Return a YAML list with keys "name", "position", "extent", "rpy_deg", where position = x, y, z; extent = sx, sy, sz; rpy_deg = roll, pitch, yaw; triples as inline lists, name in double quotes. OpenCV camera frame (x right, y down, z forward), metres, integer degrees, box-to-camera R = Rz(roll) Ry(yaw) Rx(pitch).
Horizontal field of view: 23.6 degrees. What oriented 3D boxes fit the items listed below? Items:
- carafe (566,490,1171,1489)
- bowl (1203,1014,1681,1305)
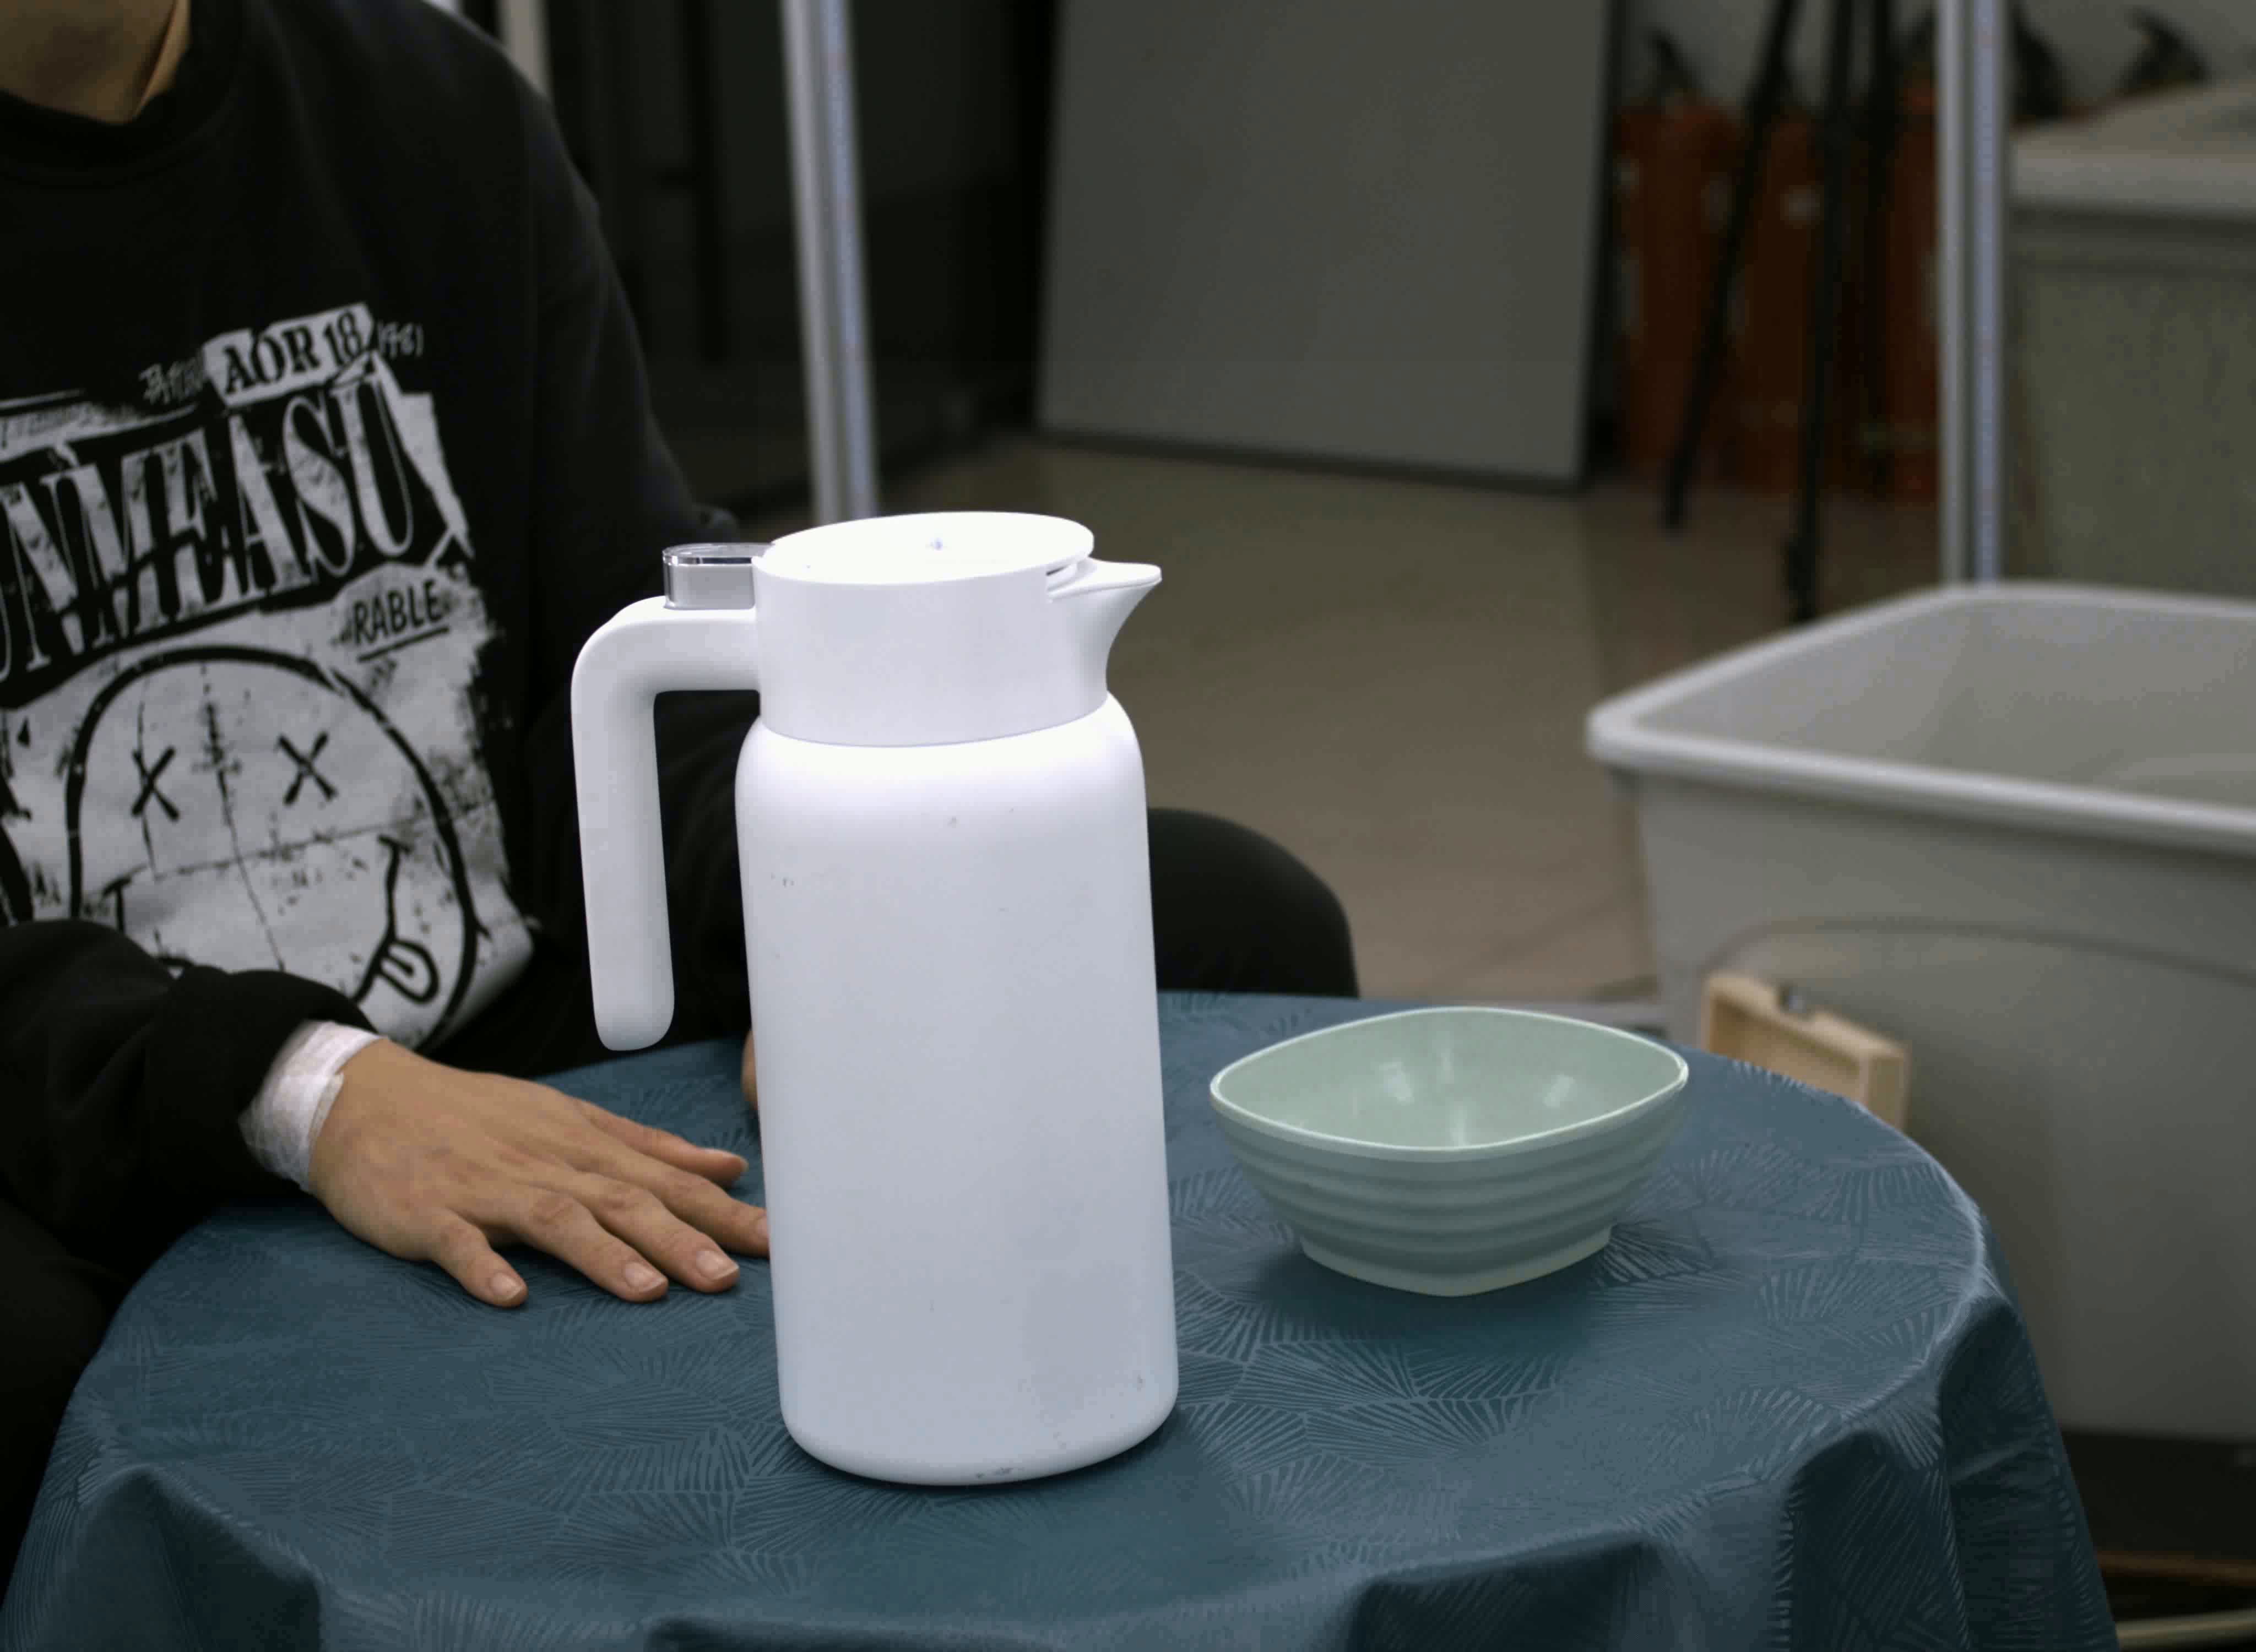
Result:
- name: "carafe"
  position: [-0.069, 0.046, 1.541]
  extent: [0.171, 0.272, 0.123]
  rpy_deg: [-1, 15, 11]
- name: "bowl"
  position: [0.100, 0.107, 1.689]
  extent: [0.149, 0.059, 0.152]
  rpy_deg: [-4, 13, 0]
